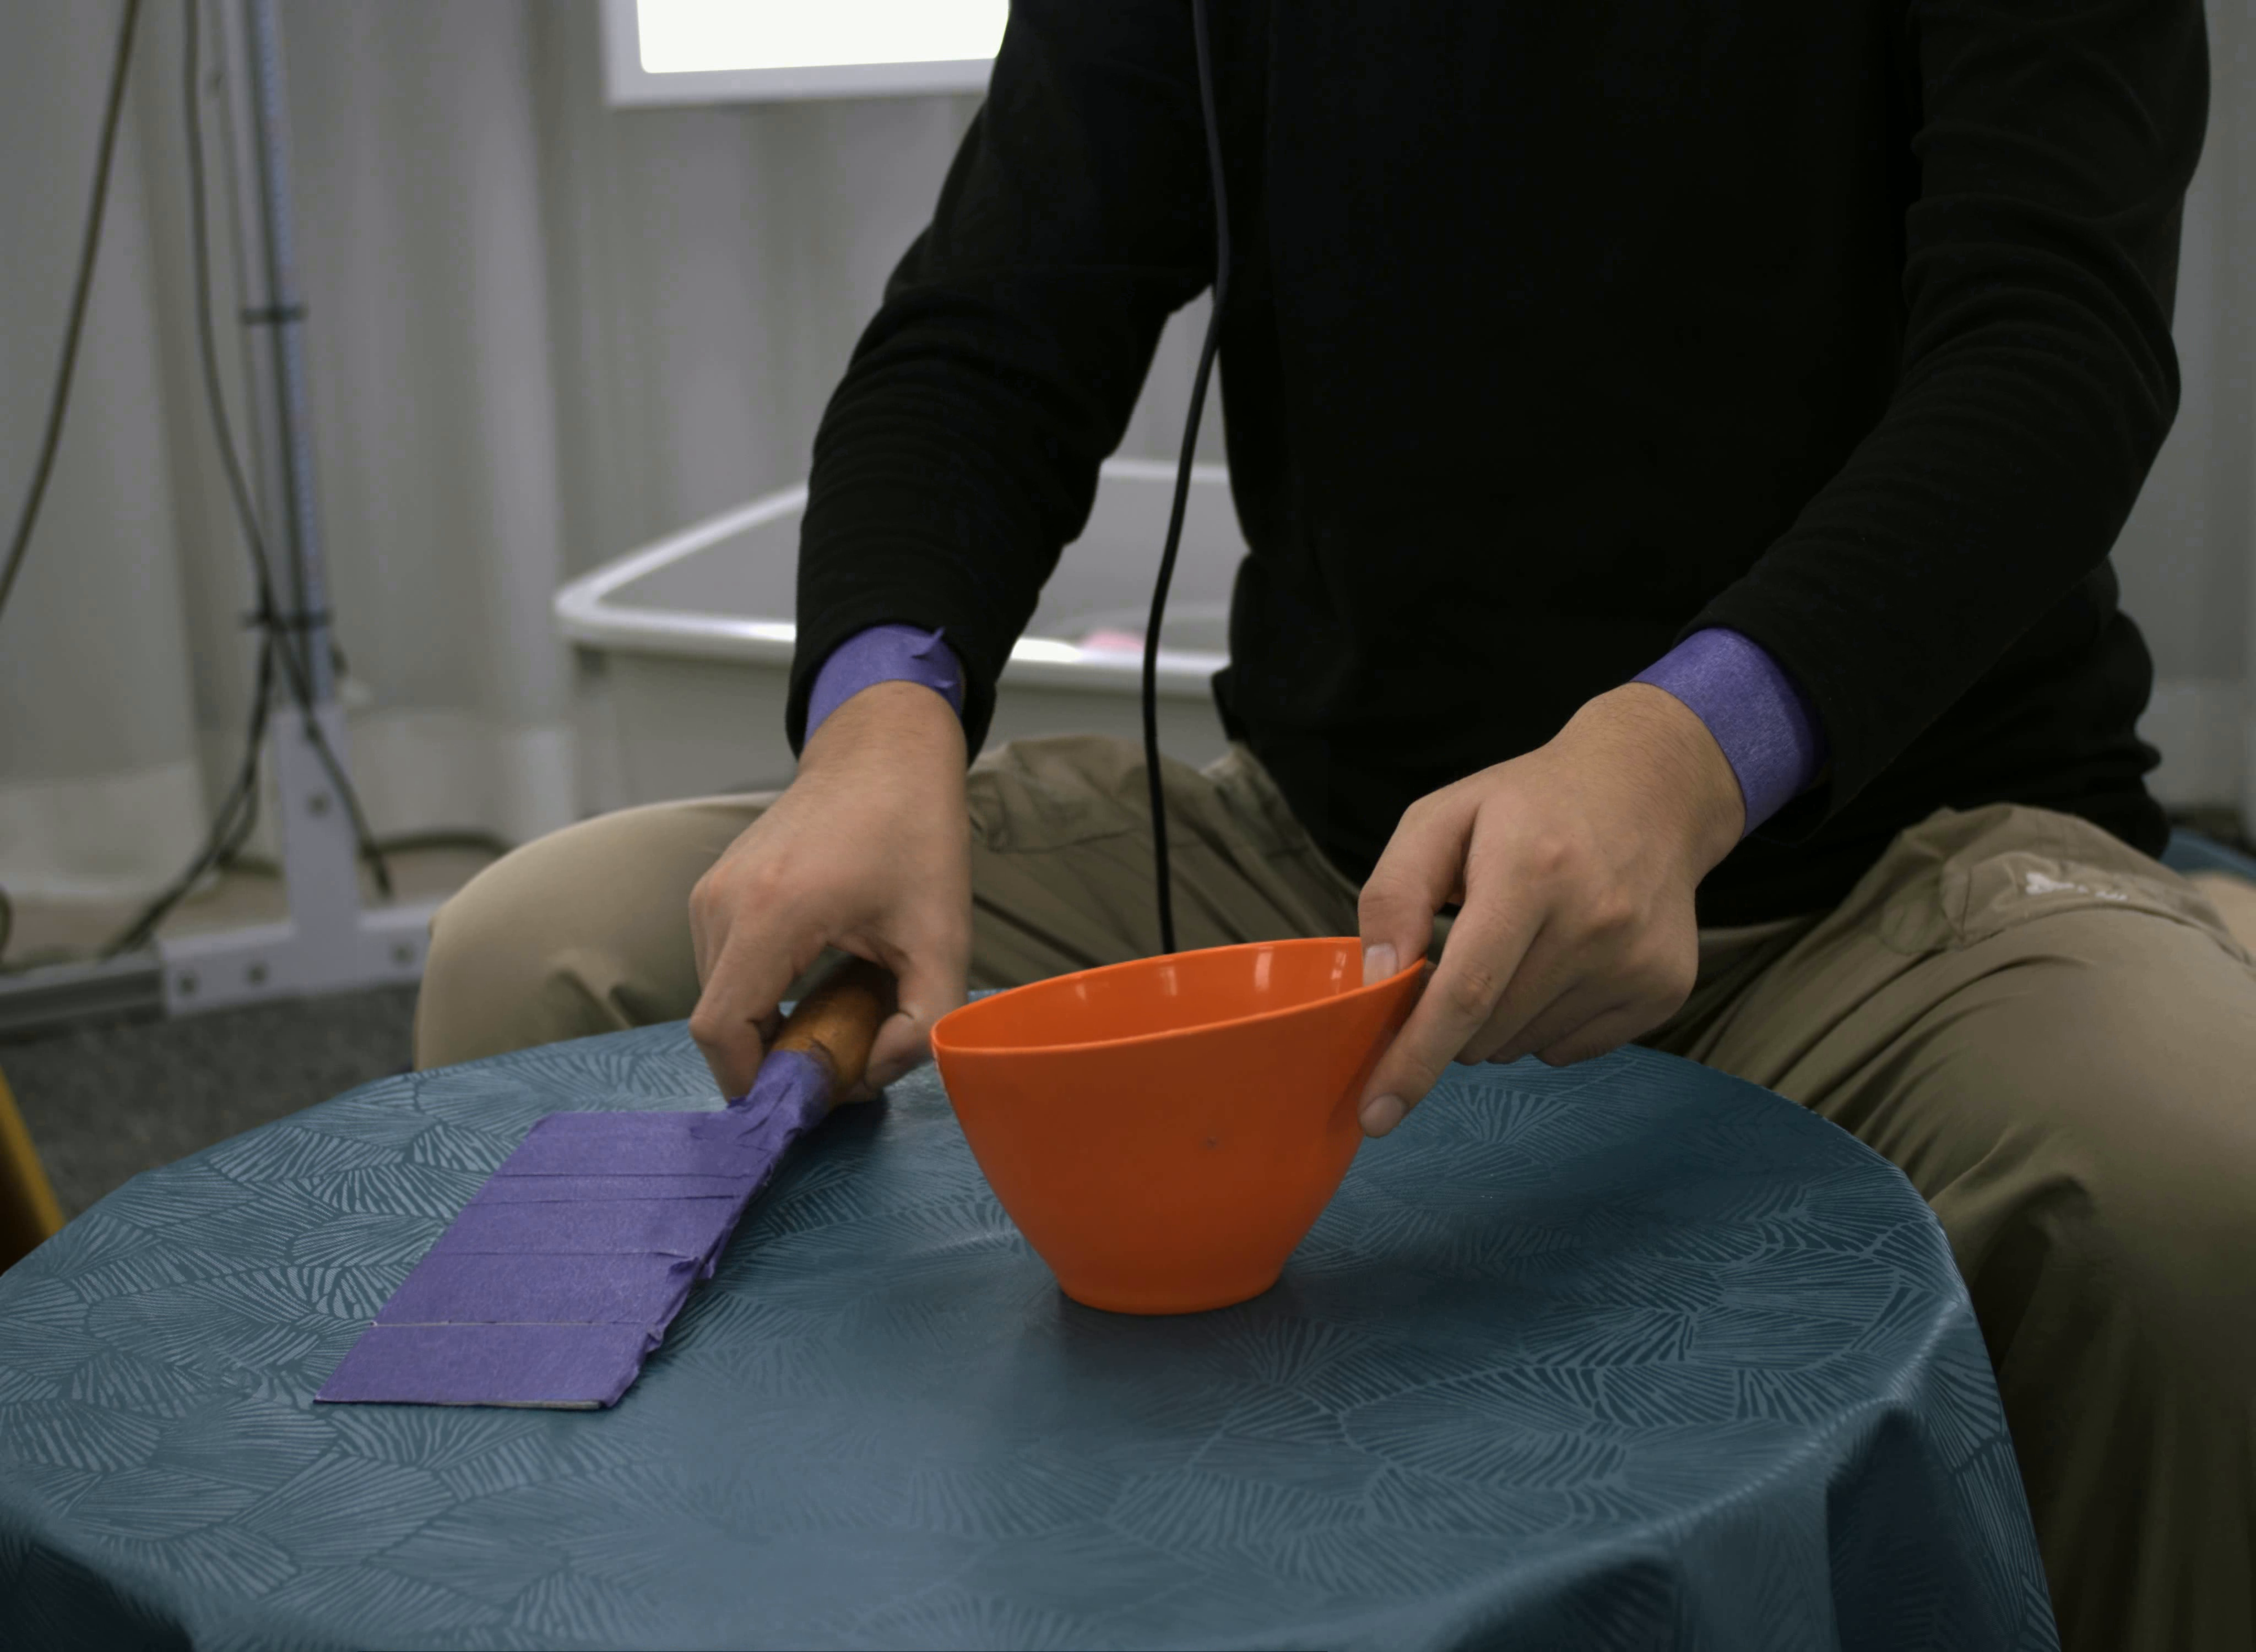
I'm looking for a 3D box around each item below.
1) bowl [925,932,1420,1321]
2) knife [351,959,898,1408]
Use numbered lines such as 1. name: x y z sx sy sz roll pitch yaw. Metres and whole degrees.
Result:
1. bowl: 0.016 0.089 1.613 0.147 0.104 0.149 -5 15 1
2. knife: -0.153 0.107 1.695 0.104 0.032 0.317 1 18 13
